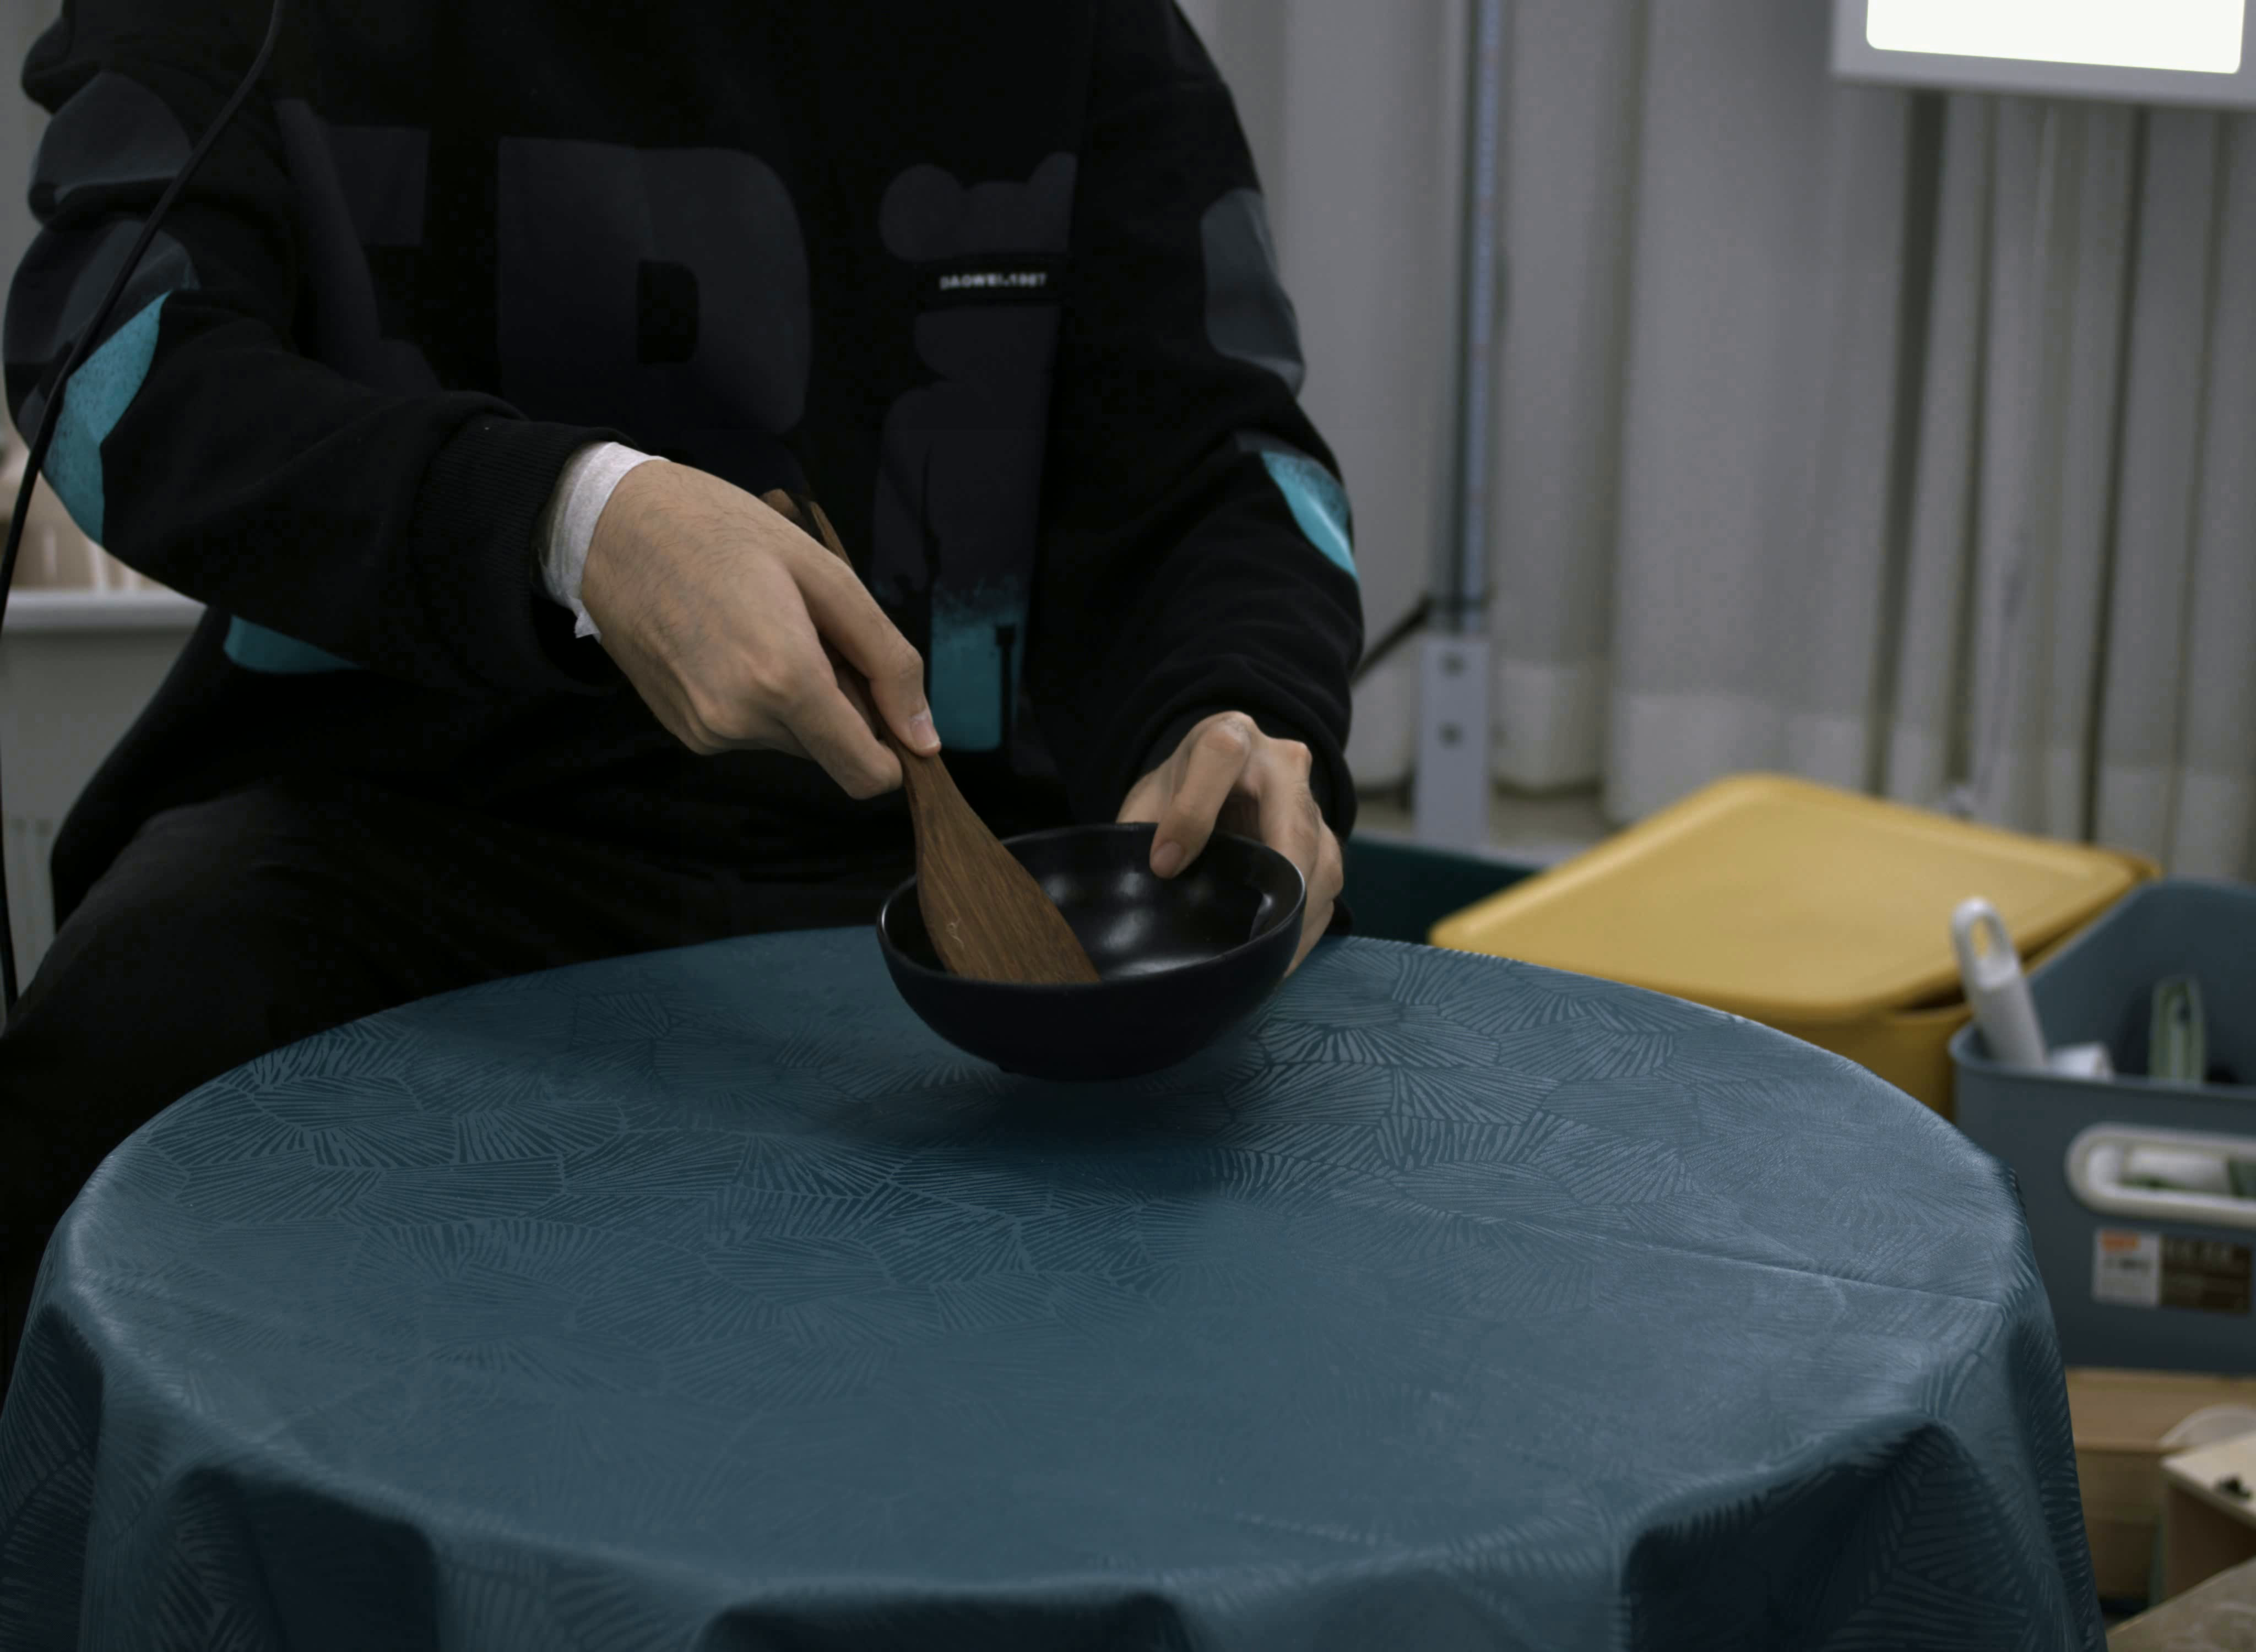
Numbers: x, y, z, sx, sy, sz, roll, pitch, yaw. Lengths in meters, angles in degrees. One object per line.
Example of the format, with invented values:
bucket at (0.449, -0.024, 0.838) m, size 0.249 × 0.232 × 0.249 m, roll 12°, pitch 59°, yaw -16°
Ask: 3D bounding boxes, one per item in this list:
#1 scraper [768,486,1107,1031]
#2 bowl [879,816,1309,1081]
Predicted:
scraper at (-0.066, -0.022, 1.700) m, size 0.011 × 0.210 × 0.076 m, roll -36°, pitch -19°, yaw 29°
bowl at (-0.009, 0.045, 1.693) m, size 0.139 × 0.050 × 0.139 m, roll -5°, pitch 22°, yaw 3°
